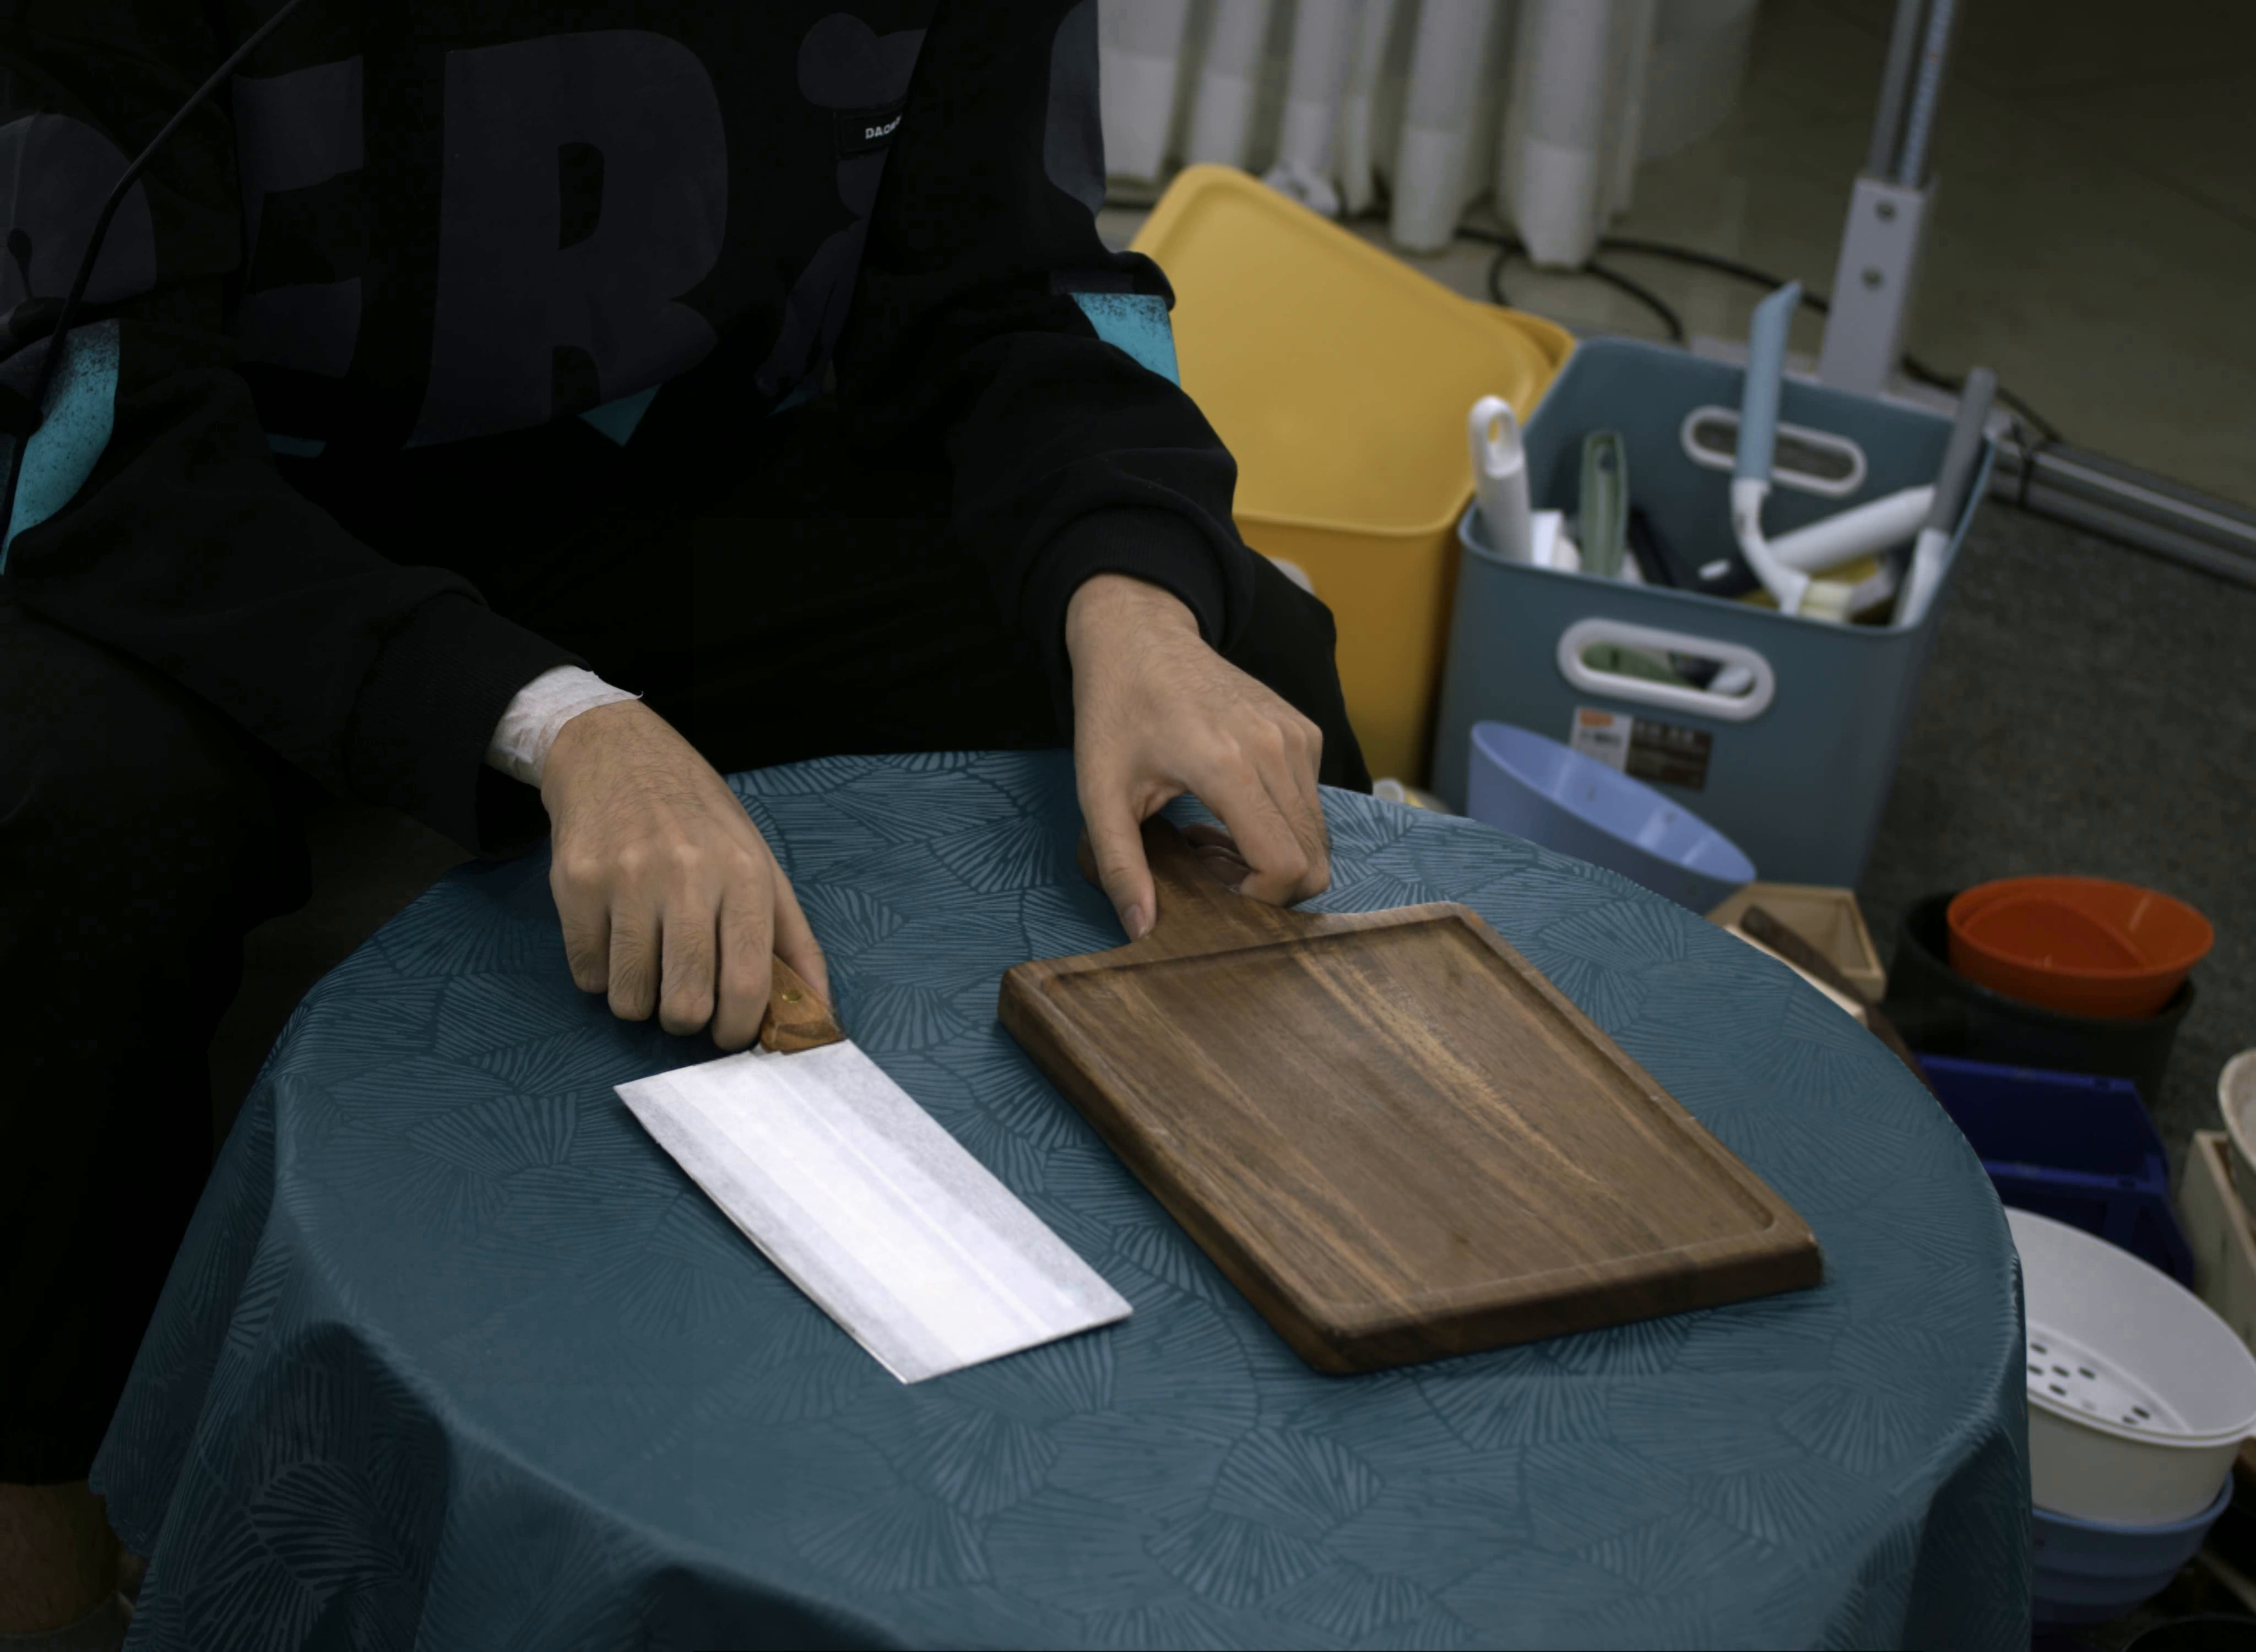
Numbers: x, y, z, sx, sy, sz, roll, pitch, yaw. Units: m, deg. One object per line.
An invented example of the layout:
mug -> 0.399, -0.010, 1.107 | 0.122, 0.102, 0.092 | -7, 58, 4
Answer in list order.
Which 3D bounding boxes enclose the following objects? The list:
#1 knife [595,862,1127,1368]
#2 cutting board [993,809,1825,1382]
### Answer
knife -> -0.117, 0.097, 1.812 | 0.092, 0.021, 0.308 | -15, 36, -31
cutting board -> 0.071, 0.081, 1.880 | 0.200, 0.023, 0.355 | -8, 30, -27
